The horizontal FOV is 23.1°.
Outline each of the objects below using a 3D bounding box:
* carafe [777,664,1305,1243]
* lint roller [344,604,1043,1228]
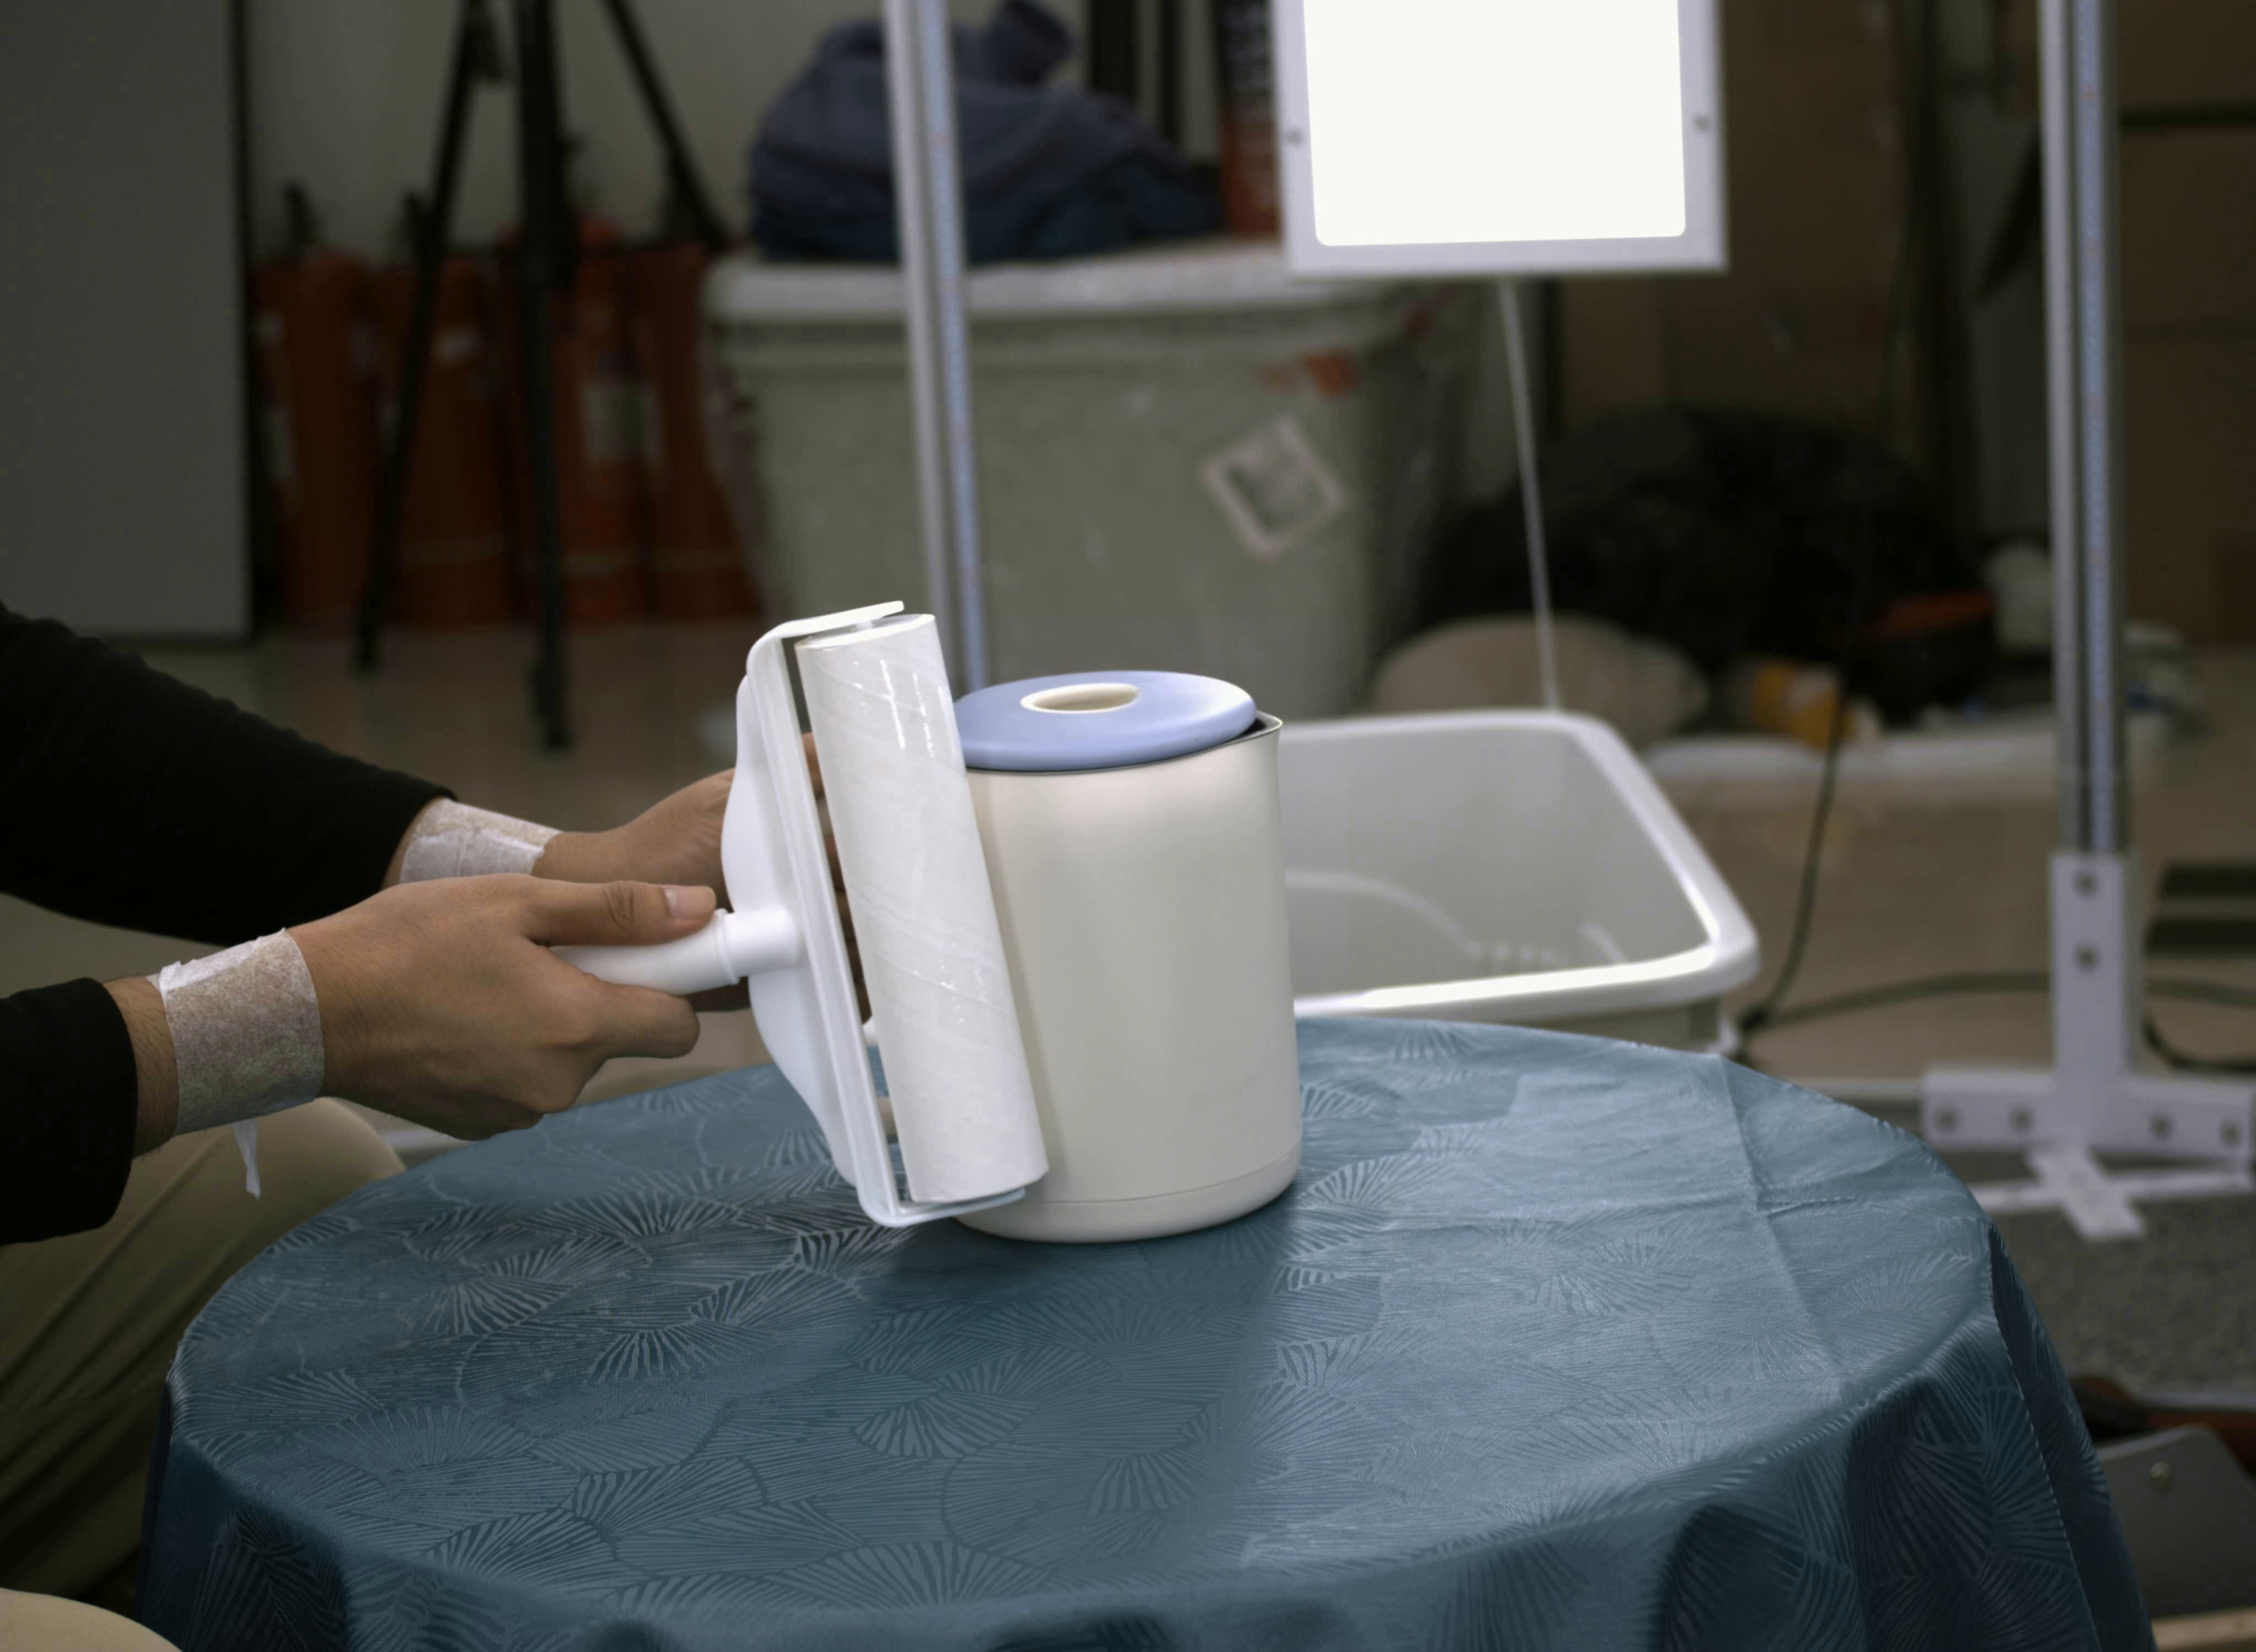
[{"bbox_3d":[-0.034,0.044,1.885,0.192,0.183,0.131,-4,13,12],"label":"carafe"},{"bbox_3d":[-0.155,0.045,1.822,0.227,0.203,0.048,-11,9,11],"label":"lint roller"}]
